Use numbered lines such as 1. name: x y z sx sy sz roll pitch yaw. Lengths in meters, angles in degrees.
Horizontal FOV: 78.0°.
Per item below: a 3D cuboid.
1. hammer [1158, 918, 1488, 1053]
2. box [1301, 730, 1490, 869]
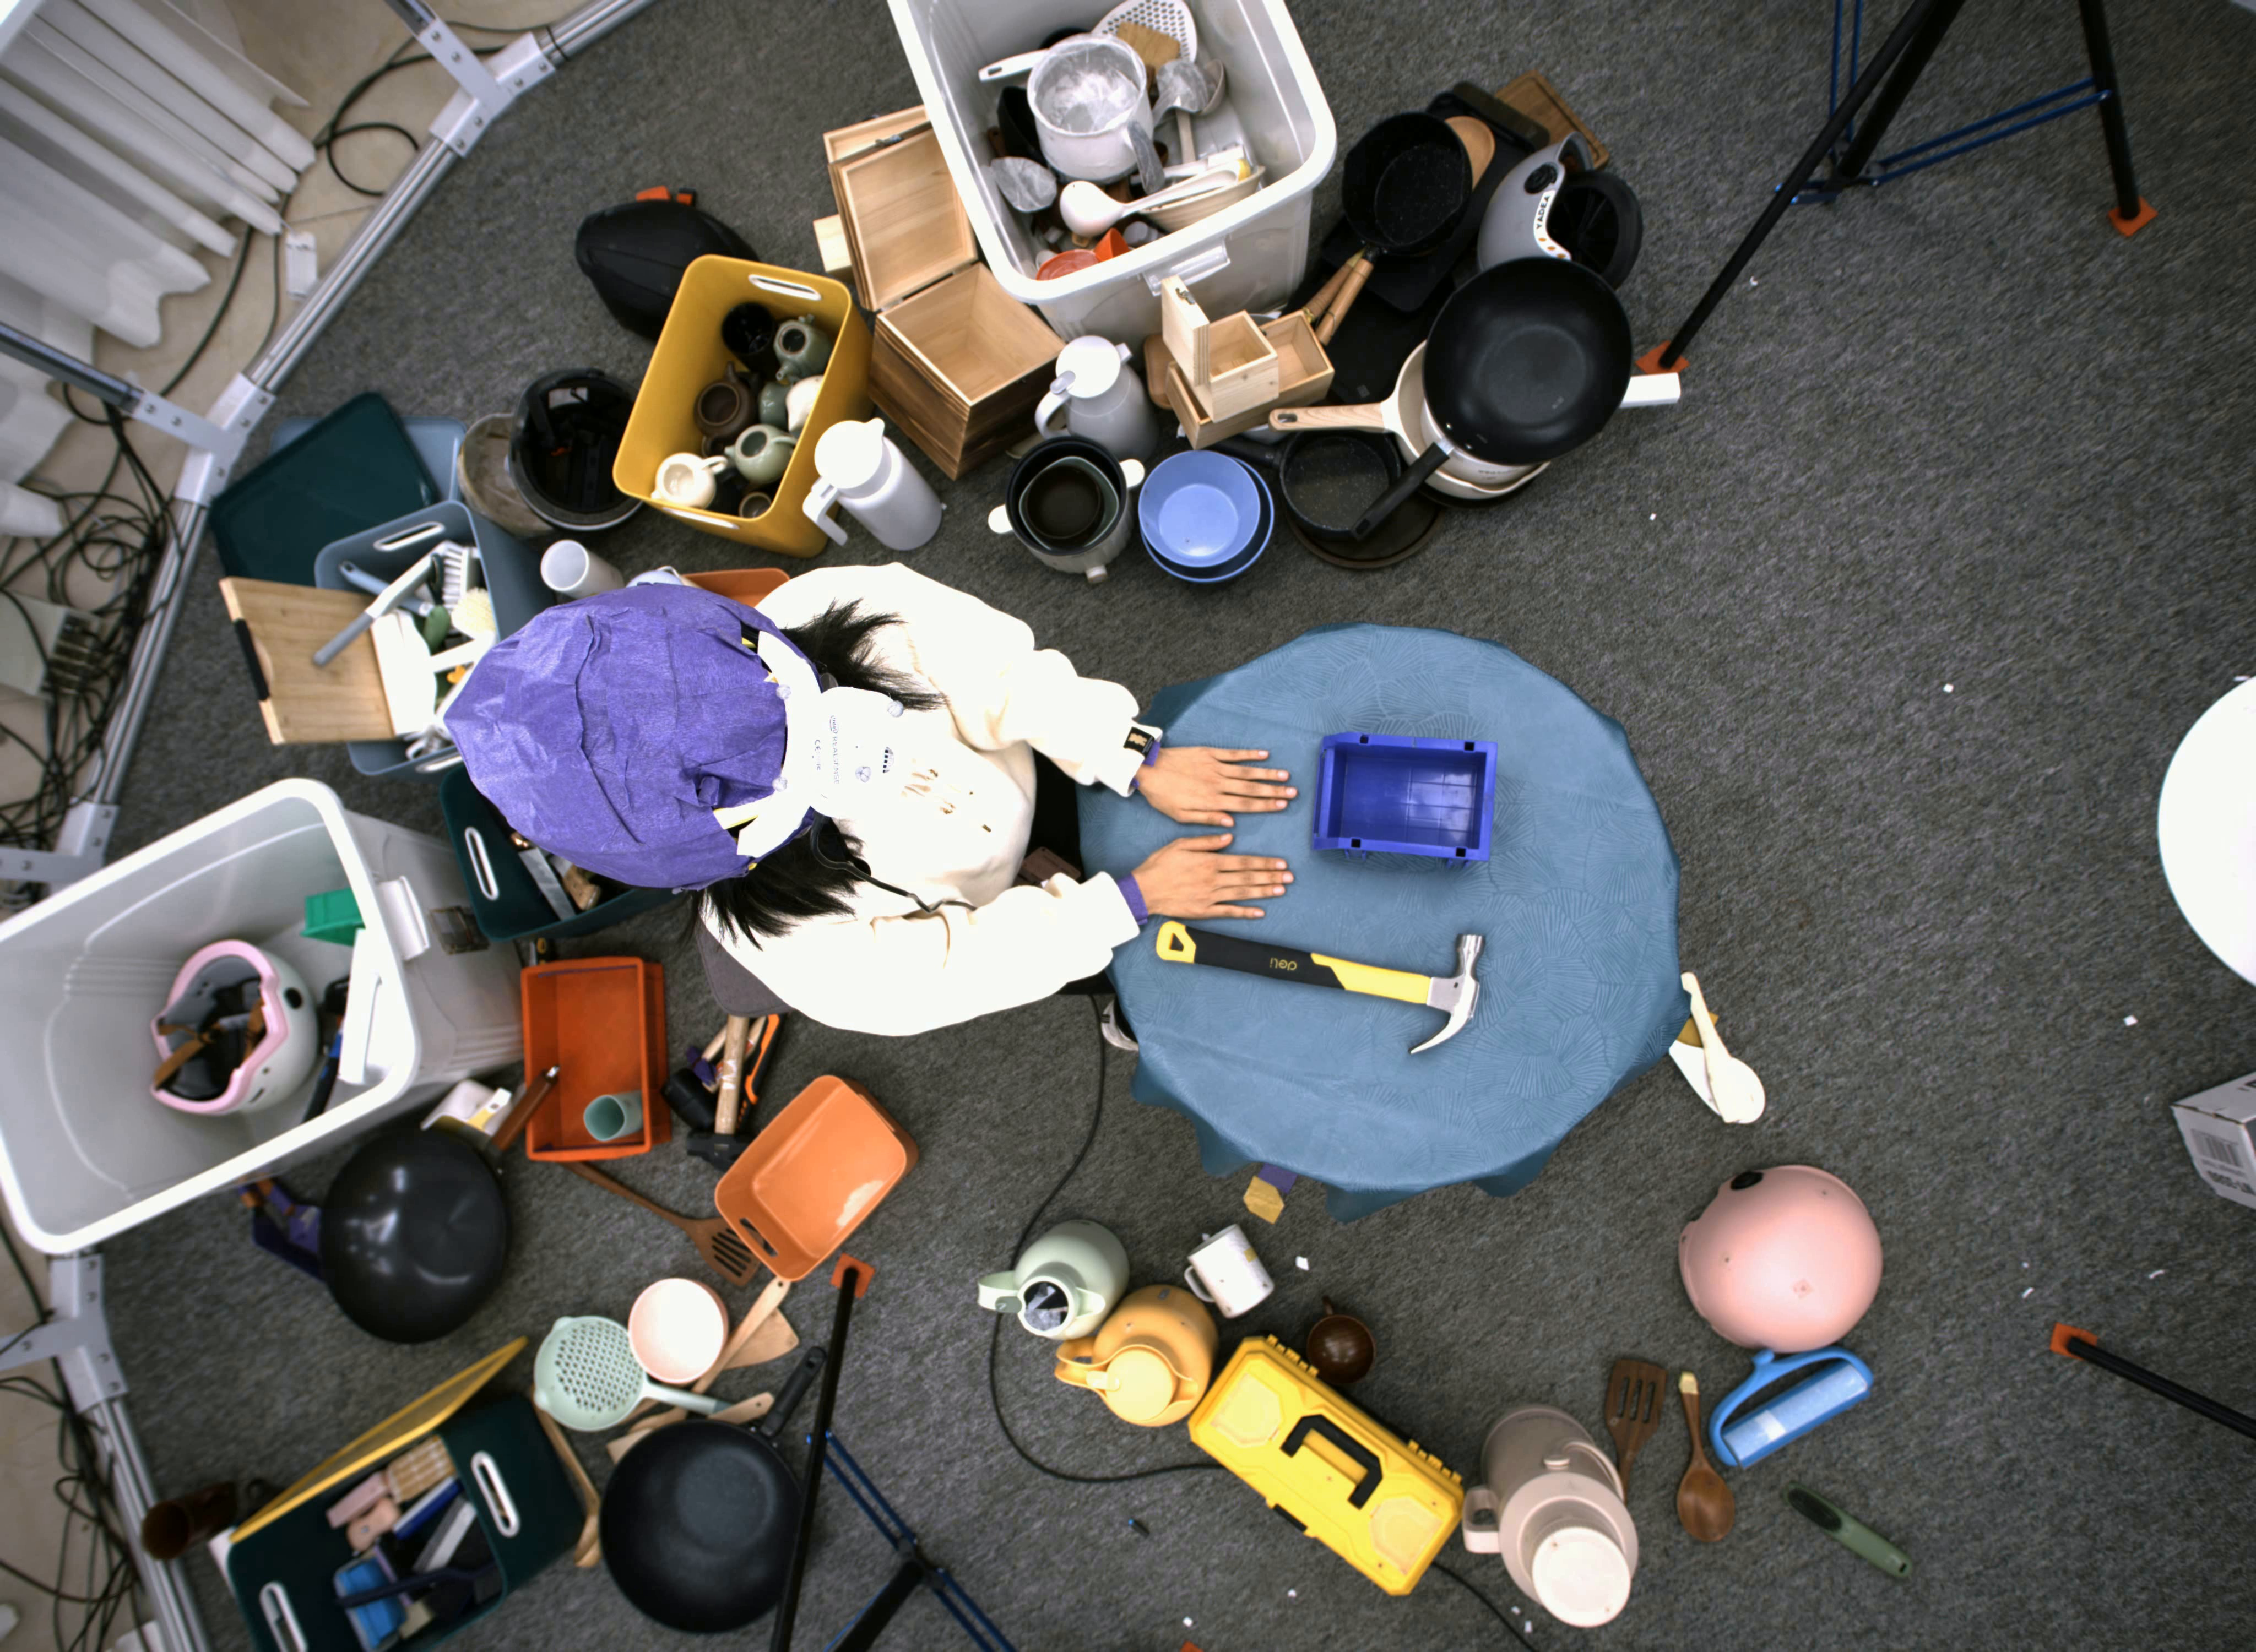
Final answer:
1. hammer: 0.197 0.148 1.452 0.339 0.032 0.131 11 90 11
2. box: 0.274 -0.028 1.424 0.180 0.082 0.124 6 87 9
